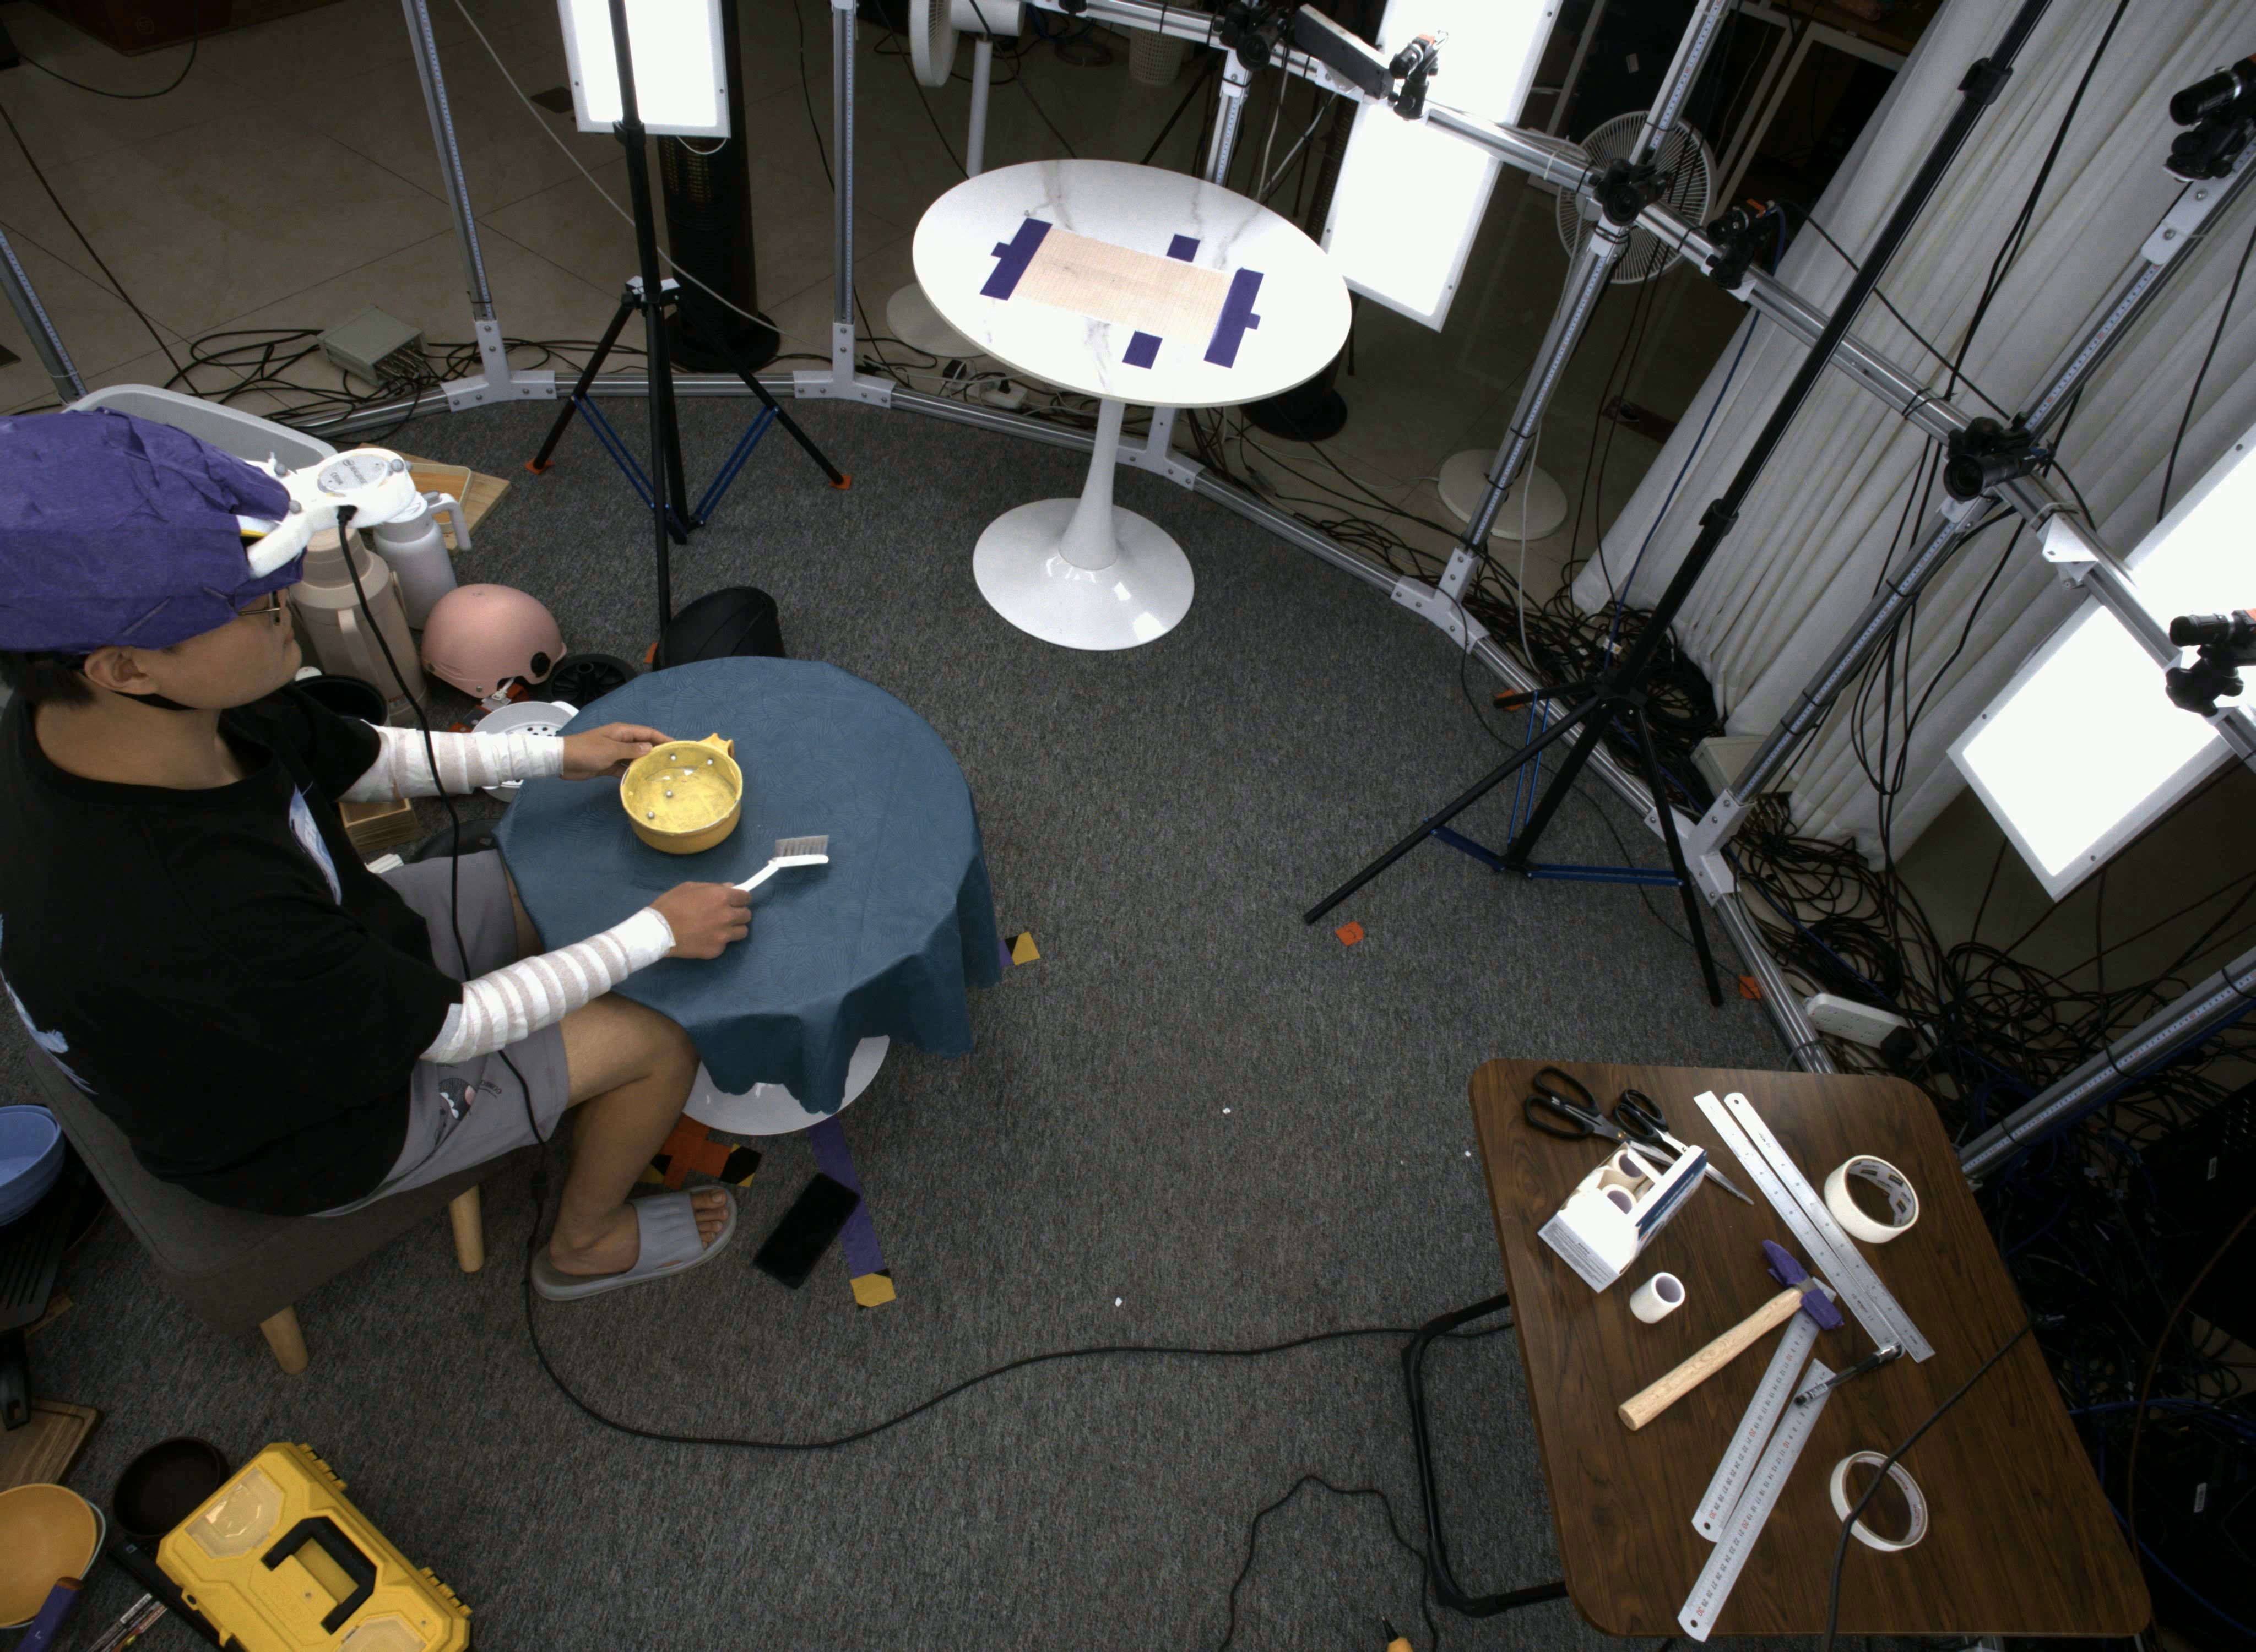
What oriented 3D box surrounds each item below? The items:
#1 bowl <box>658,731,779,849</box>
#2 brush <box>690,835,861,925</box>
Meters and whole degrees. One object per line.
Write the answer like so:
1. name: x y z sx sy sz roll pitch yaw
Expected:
1. bowl: -0.527 -0.049 1.700 0.150 0.076 0.178 19 51 7
2. brush: -0.446 0.059 1.639 0.245 0.033 0.051 -23 104 -32
